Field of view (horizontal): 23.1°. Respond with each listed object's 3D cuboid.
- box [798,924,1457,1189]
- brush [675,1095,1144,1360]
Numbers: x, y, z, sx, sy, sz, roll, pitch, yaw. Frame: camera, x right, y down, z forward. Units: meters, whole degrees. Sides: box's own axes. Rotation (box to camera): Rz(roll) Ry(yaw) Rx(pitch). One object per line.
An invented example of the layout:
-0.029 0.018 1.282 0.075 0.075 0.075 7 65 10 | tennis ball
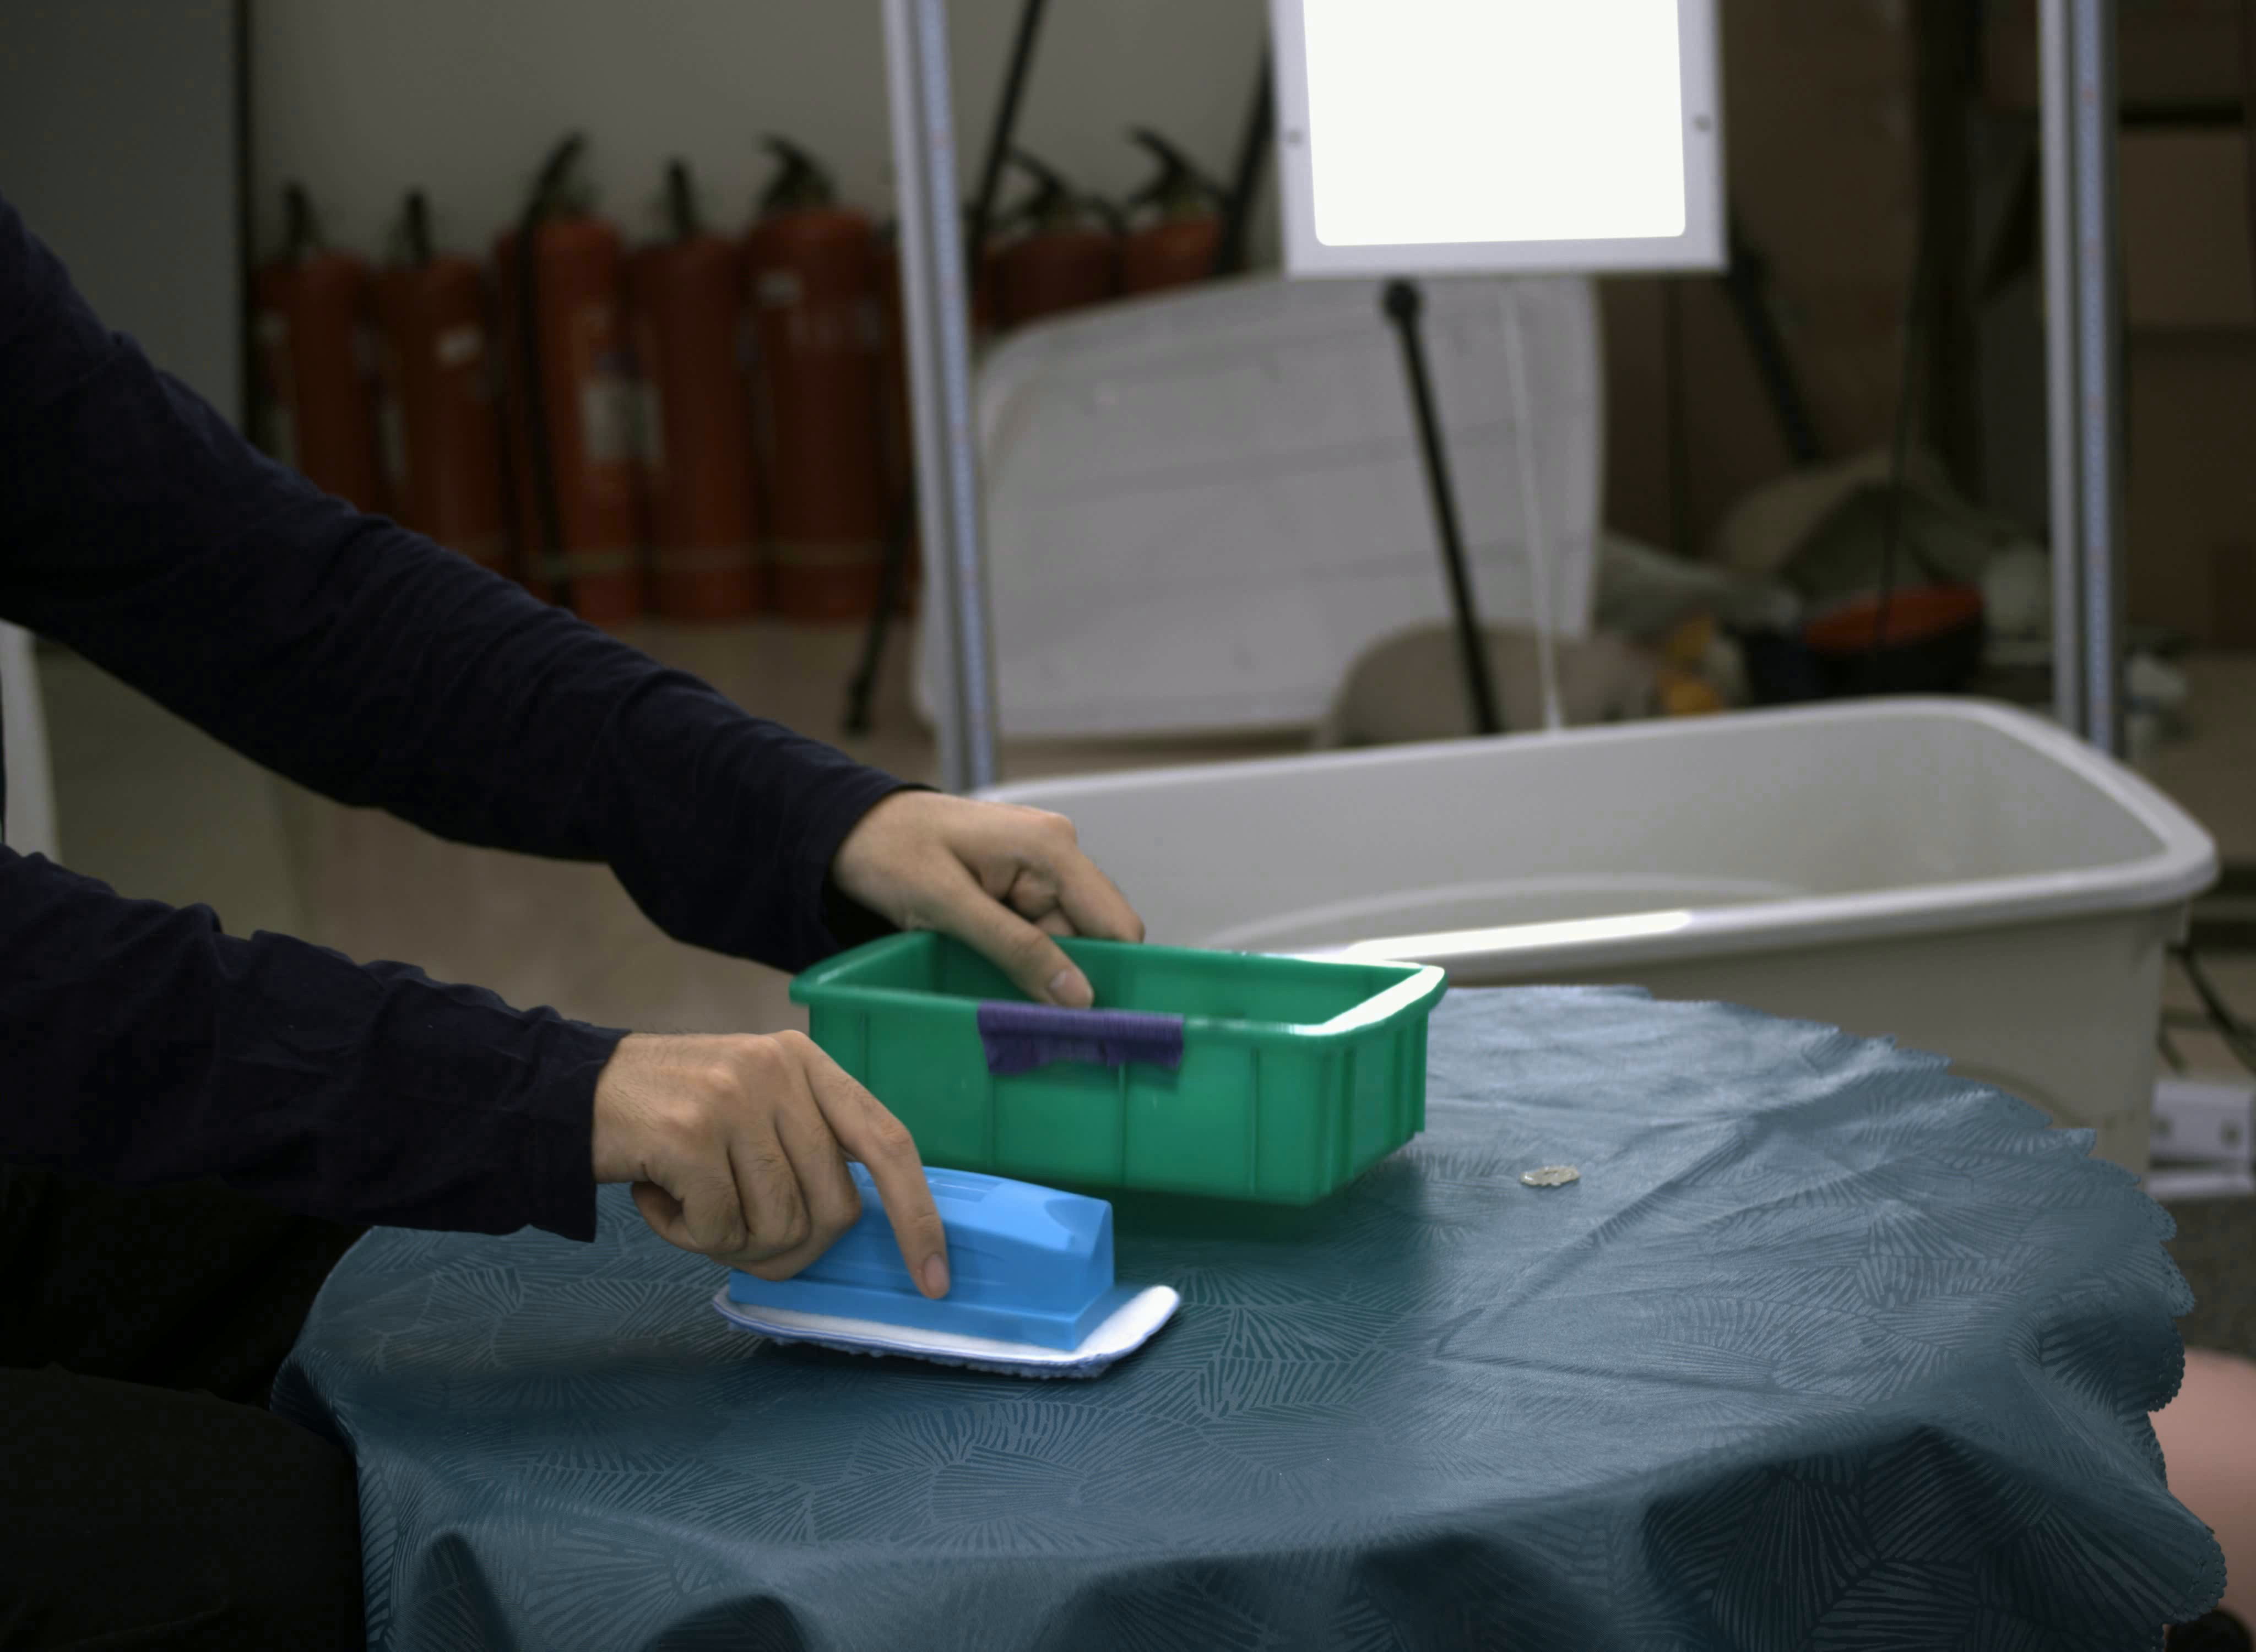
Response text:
0.001 0.079 1.894 0.213 0.065 0.136 4 10 21 | box
-0.067 0.125 1.753 0.146 0.056 0.082 16 23 21 | brush
